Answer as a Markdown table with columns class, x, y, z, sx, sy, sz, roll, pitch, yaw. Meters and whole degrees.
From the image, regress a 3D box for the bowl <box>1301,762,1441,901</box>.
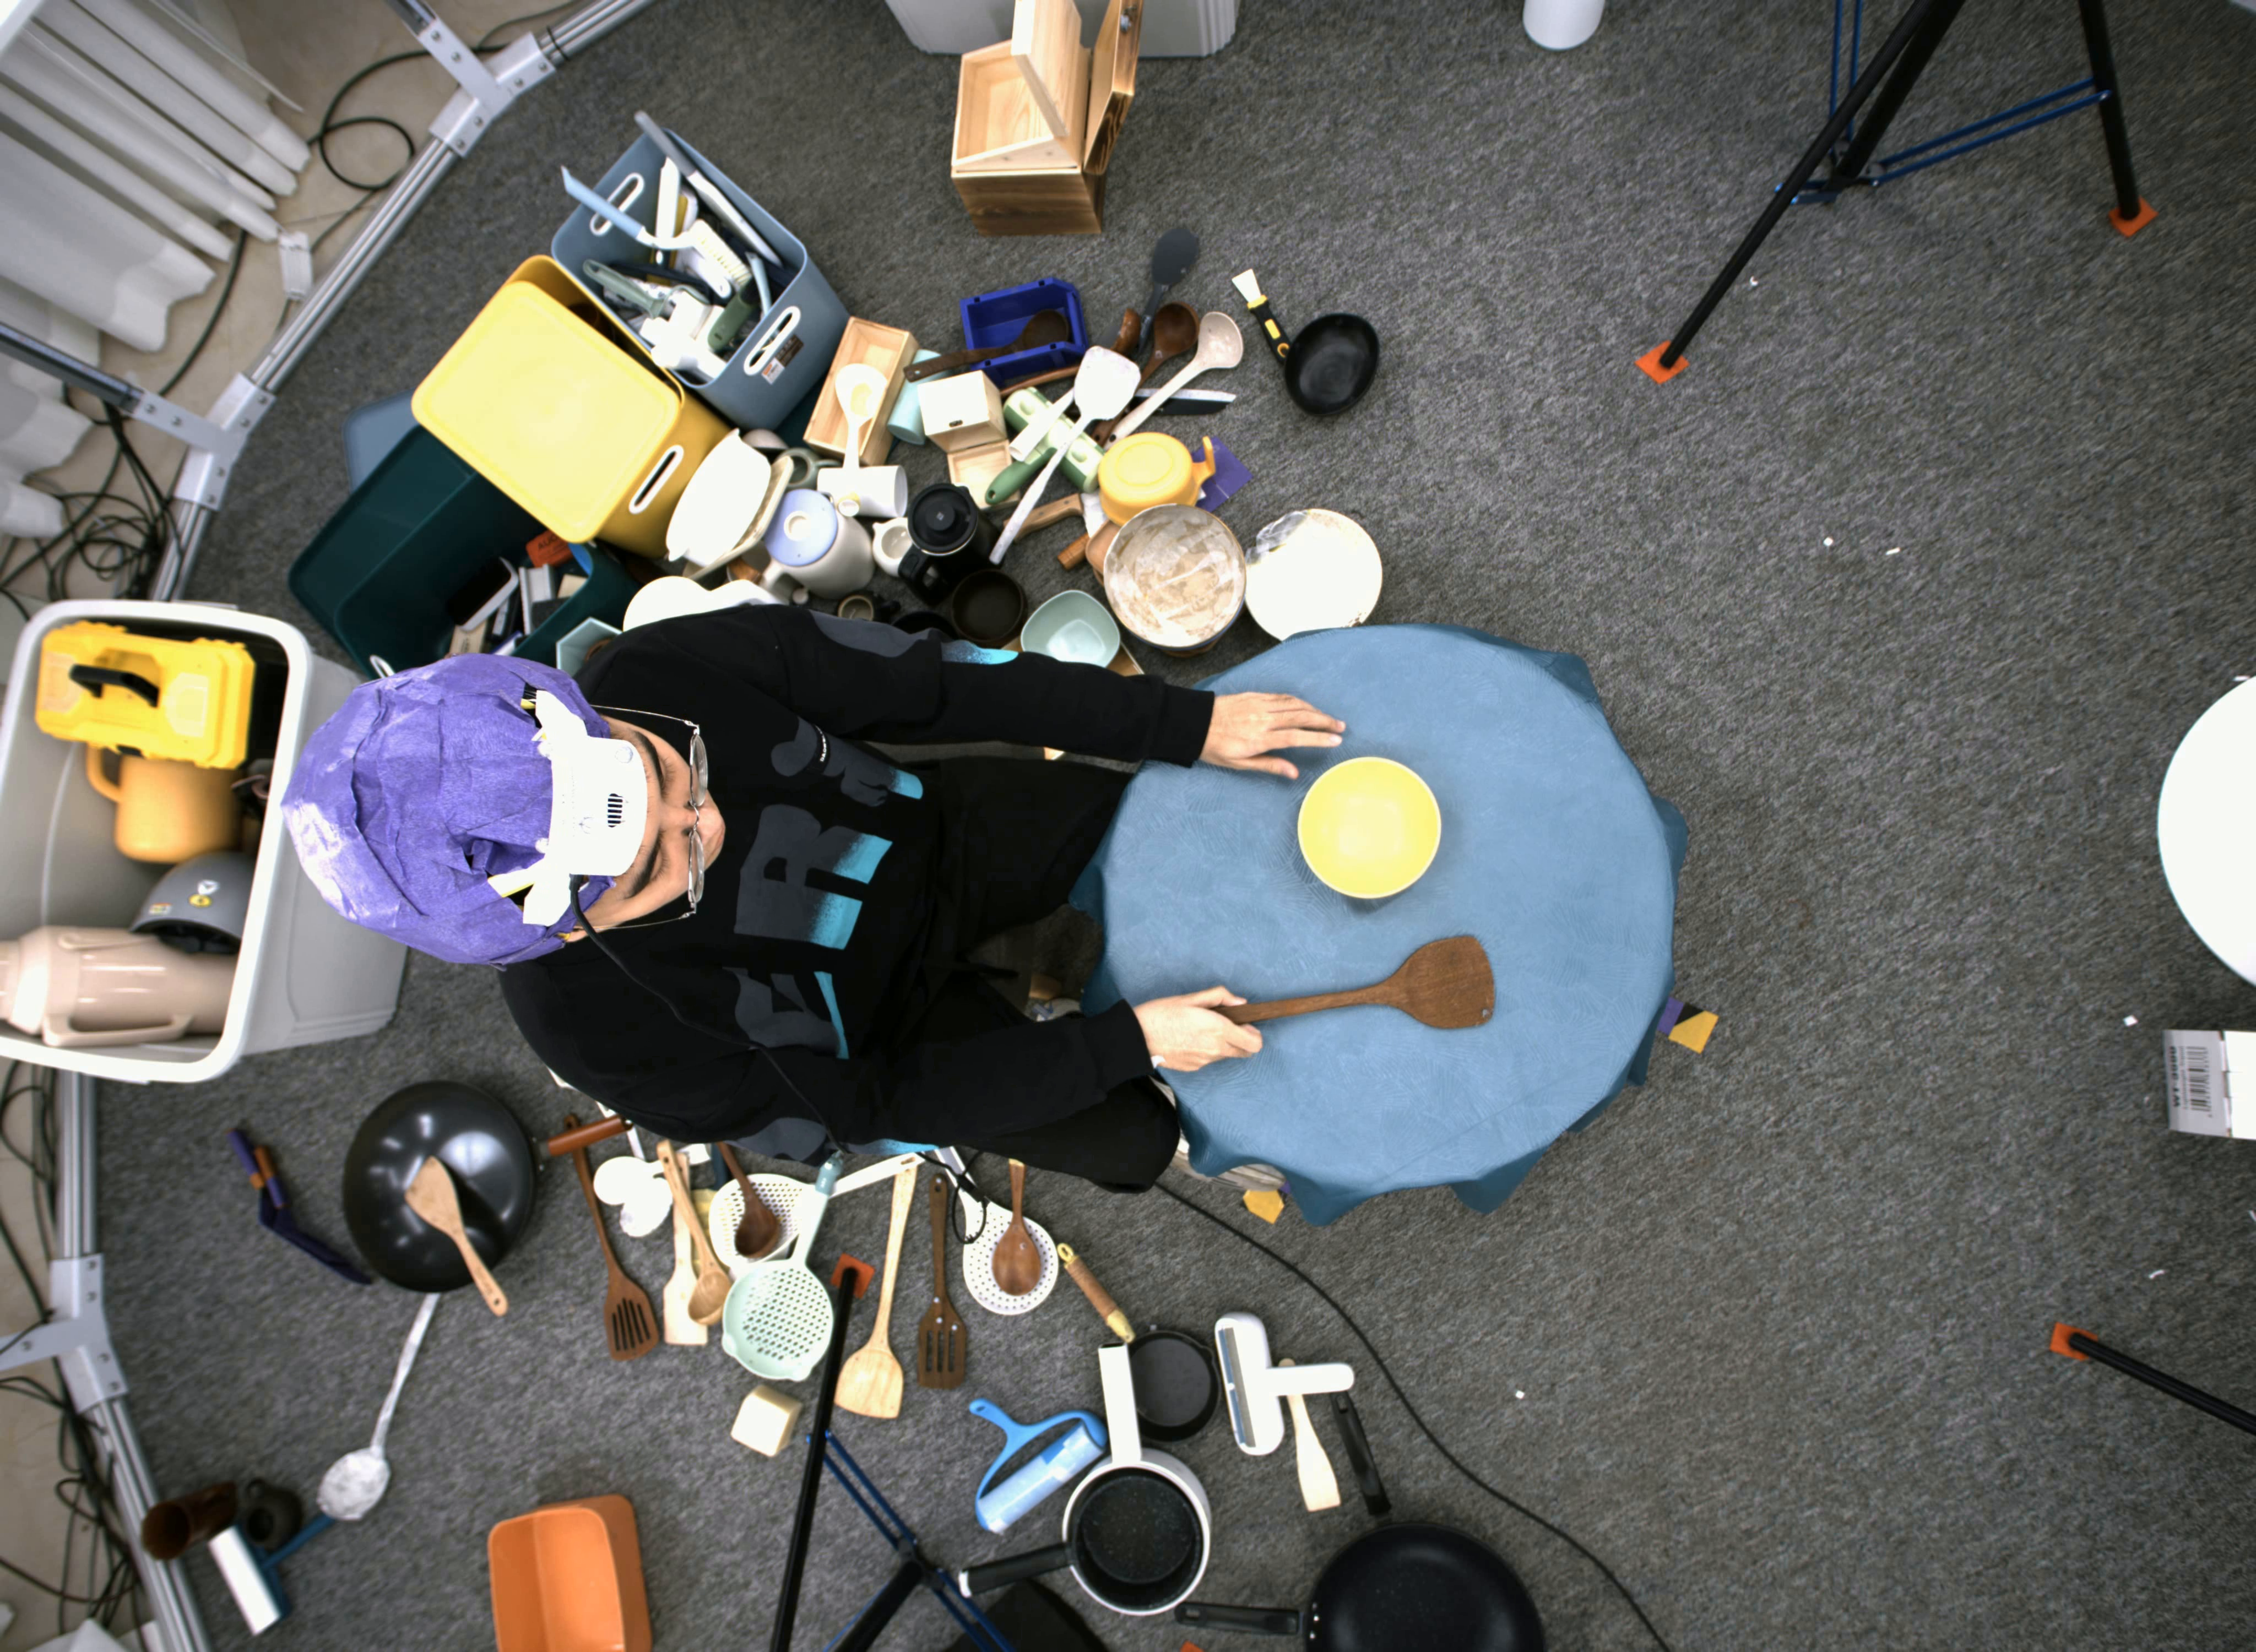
| class | x | y | z | sx | sy | sz | roll | pitch | yaw |
| --- | --- | --- | --- | --- | --- | --- | --- | --- | --- |
| bowl | 0.254 | 0.008 | 1.444 | 0.146 | 0.060 | 0.144 | -2 | 83 | 11 |

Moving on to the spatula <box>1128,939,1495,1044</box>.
| class | x | y | z | sx | sy | sz | roll | pitch | yaw |
| --- | --- | --- | --- | --- | --- | --- | --- | --- | --- |
| spatula | 0.191 | 0.188 | 1.451 | 0.387 | 0.016 | 0.095 | -9 | 84 | 4 |
